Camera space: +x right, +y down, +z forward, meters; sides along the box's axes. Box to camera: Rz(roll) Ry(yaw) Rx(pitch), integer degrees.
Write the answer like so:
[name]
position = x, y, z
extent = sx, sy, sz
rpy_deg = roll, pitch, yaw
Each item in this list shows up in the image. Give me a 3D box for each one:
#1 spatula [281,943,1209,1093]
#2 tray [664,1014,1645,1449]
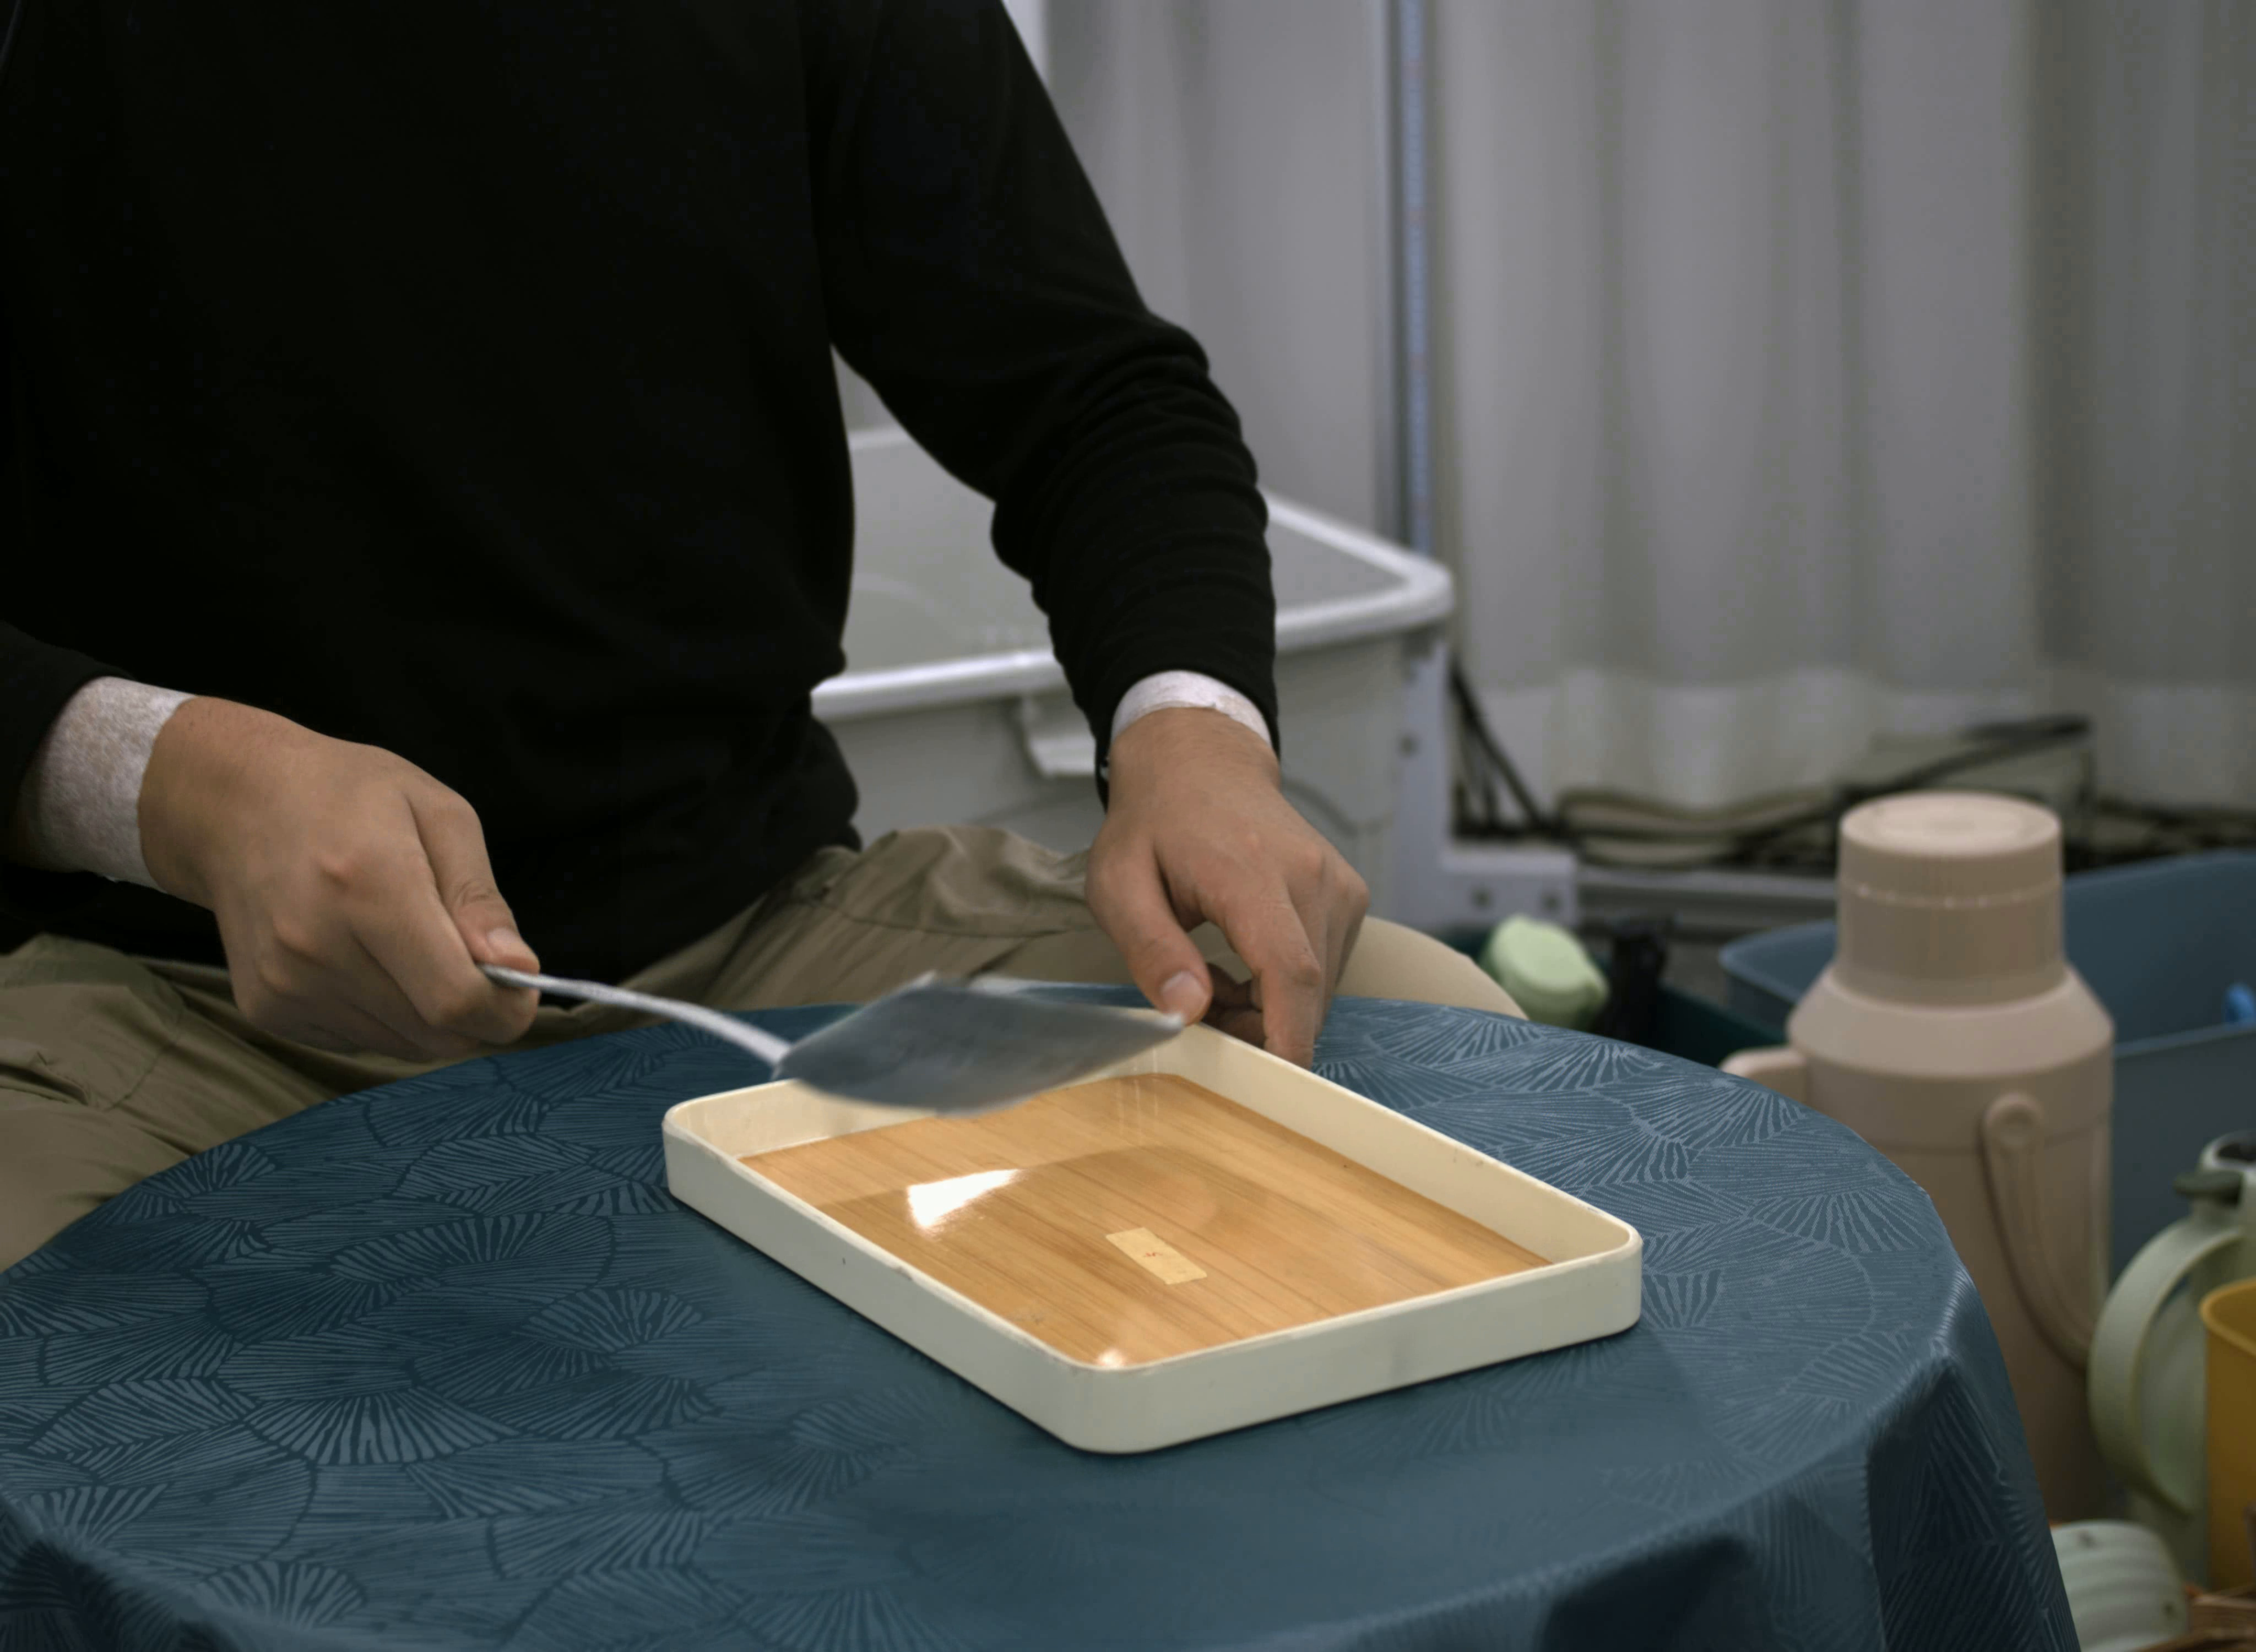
[spatula]
position = -0.132, 0.043, 1.551
extent = 0.366, 0.045, 0.098
rpy_deg = 7, -5, 45
[tray]
position = 0.002, 0.117, 1.653
extent = 0.191, 0.027, 0.302
rpy_deg = -11, 17, -27
